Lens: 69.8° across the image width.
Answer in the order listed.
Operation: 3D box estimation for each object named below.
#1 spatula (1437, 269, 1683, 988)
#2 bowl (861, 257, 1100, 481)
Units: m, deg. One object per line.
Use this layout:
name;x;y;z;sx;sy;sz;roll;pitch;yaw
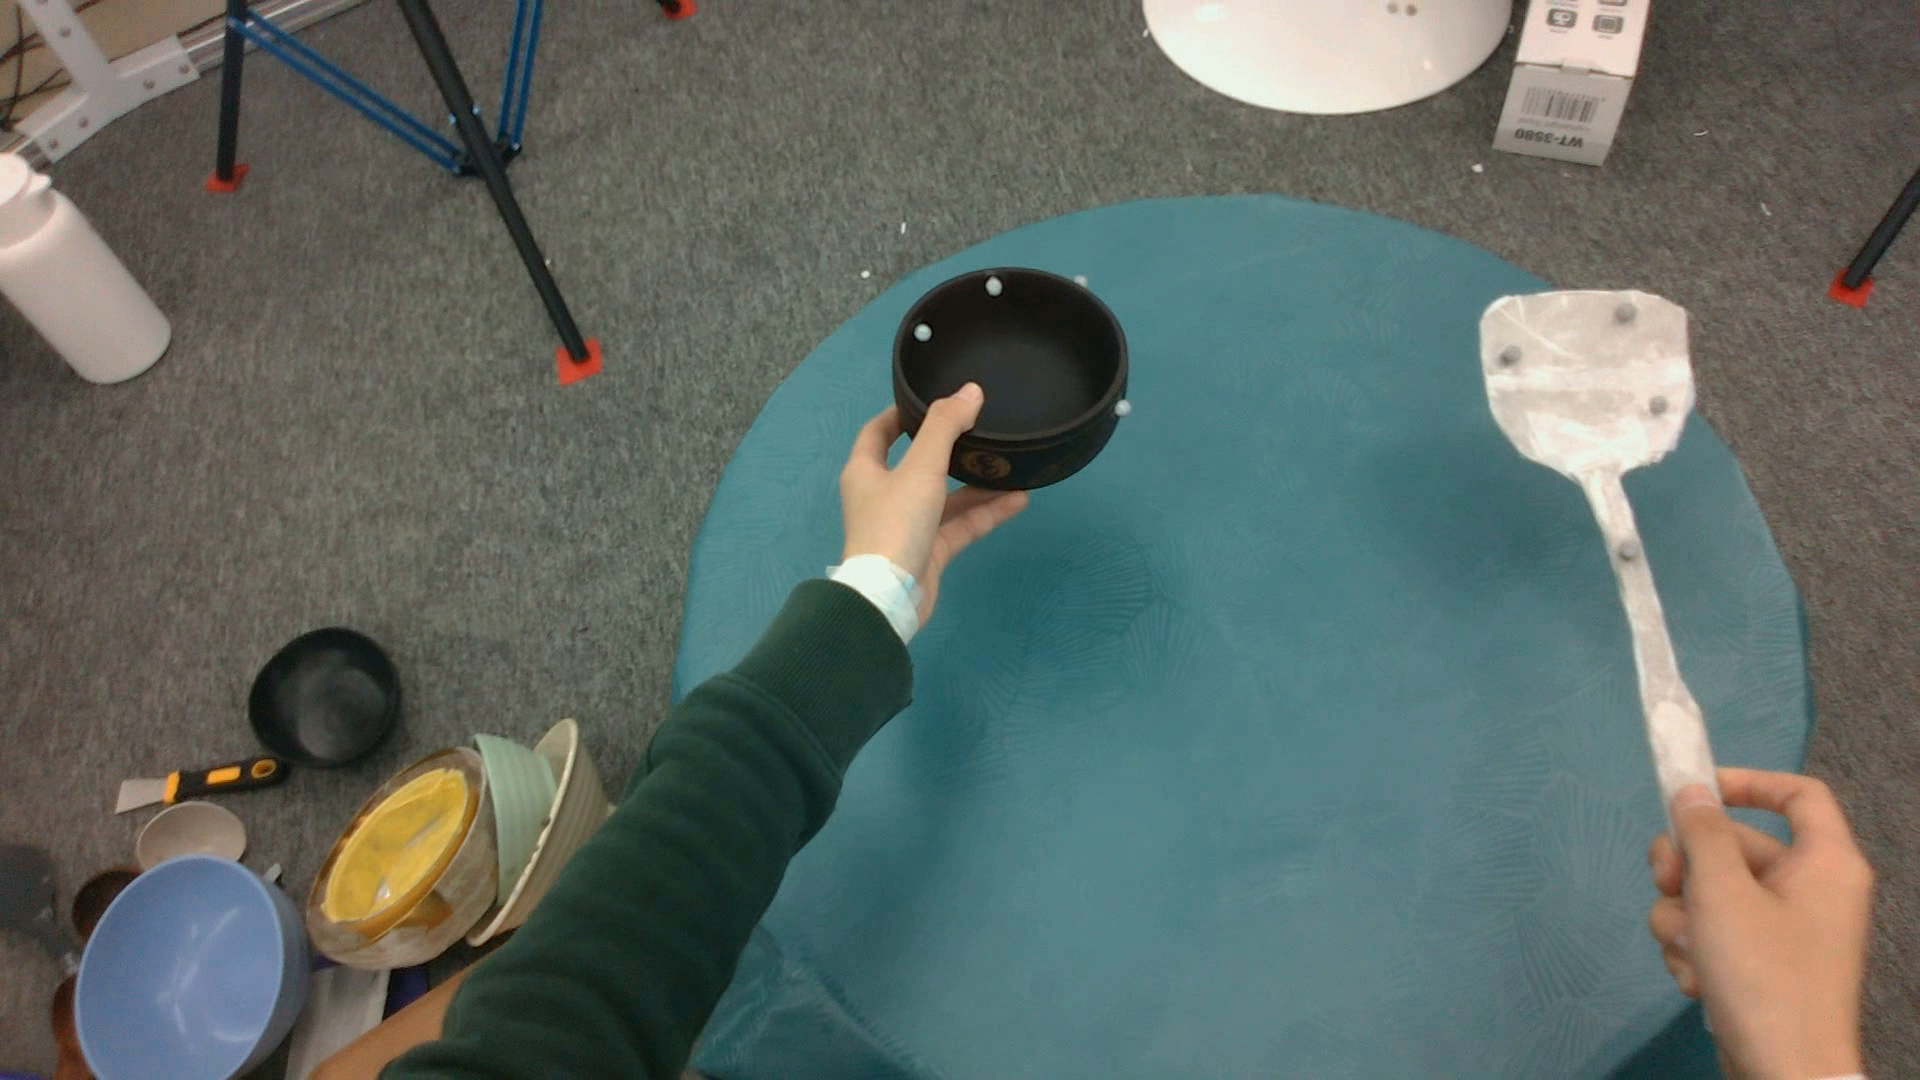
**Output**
spatula;0.276;0.013;0.606;0.098;0.044;0.366;3;49;6
bowl;0.011;-0.078;0.695;0.118;0.069;0.118;-2;55;2
